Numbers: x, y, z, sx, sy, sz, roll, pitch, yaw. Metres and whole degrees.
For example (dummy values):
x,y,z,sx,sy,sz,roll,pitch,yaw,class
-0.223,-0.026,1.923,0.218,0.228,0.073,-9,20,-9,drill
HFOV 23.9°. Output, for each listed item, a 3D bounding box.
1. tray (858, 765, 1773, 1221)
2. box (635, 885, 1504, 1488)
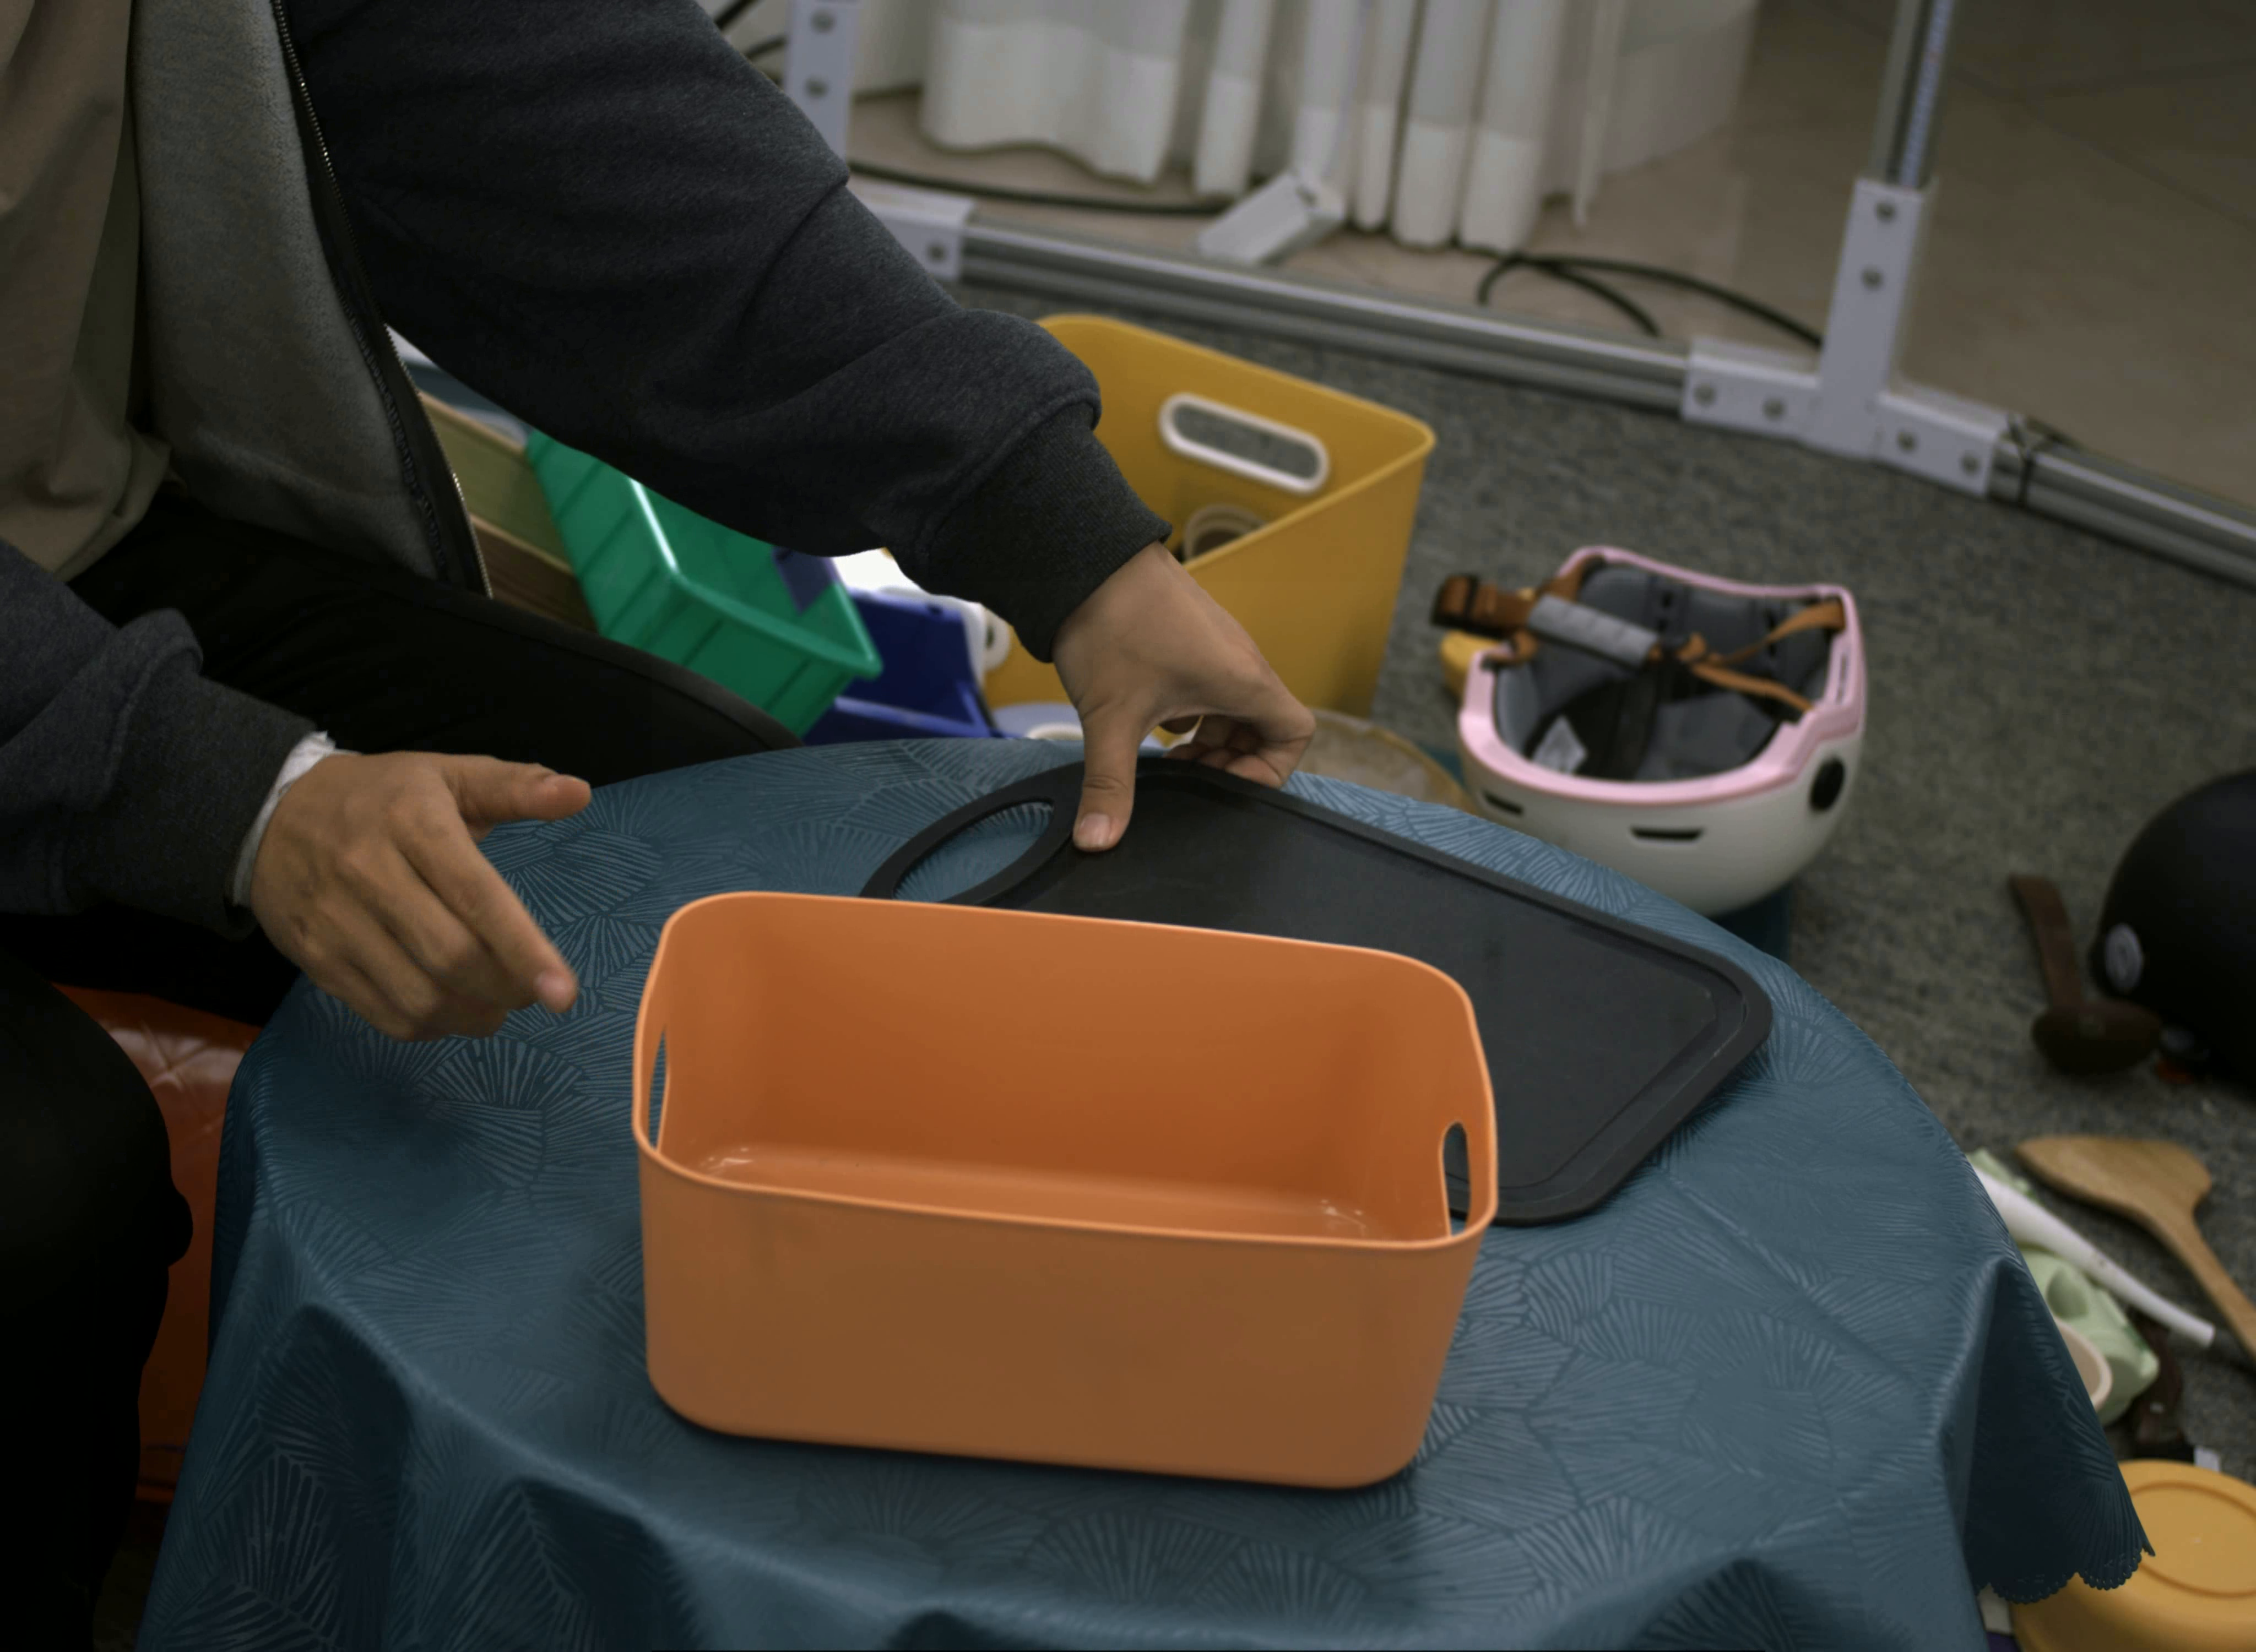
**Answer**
x,y,z,sx,sy,sz,roll,pitch,yaw,class
0.059,0.053,1.937,0.327,0.010,0.211,20,33,25,tray
-0.024,0.116,1.697,0.272,0.102,0.200,6,27,-3,box
